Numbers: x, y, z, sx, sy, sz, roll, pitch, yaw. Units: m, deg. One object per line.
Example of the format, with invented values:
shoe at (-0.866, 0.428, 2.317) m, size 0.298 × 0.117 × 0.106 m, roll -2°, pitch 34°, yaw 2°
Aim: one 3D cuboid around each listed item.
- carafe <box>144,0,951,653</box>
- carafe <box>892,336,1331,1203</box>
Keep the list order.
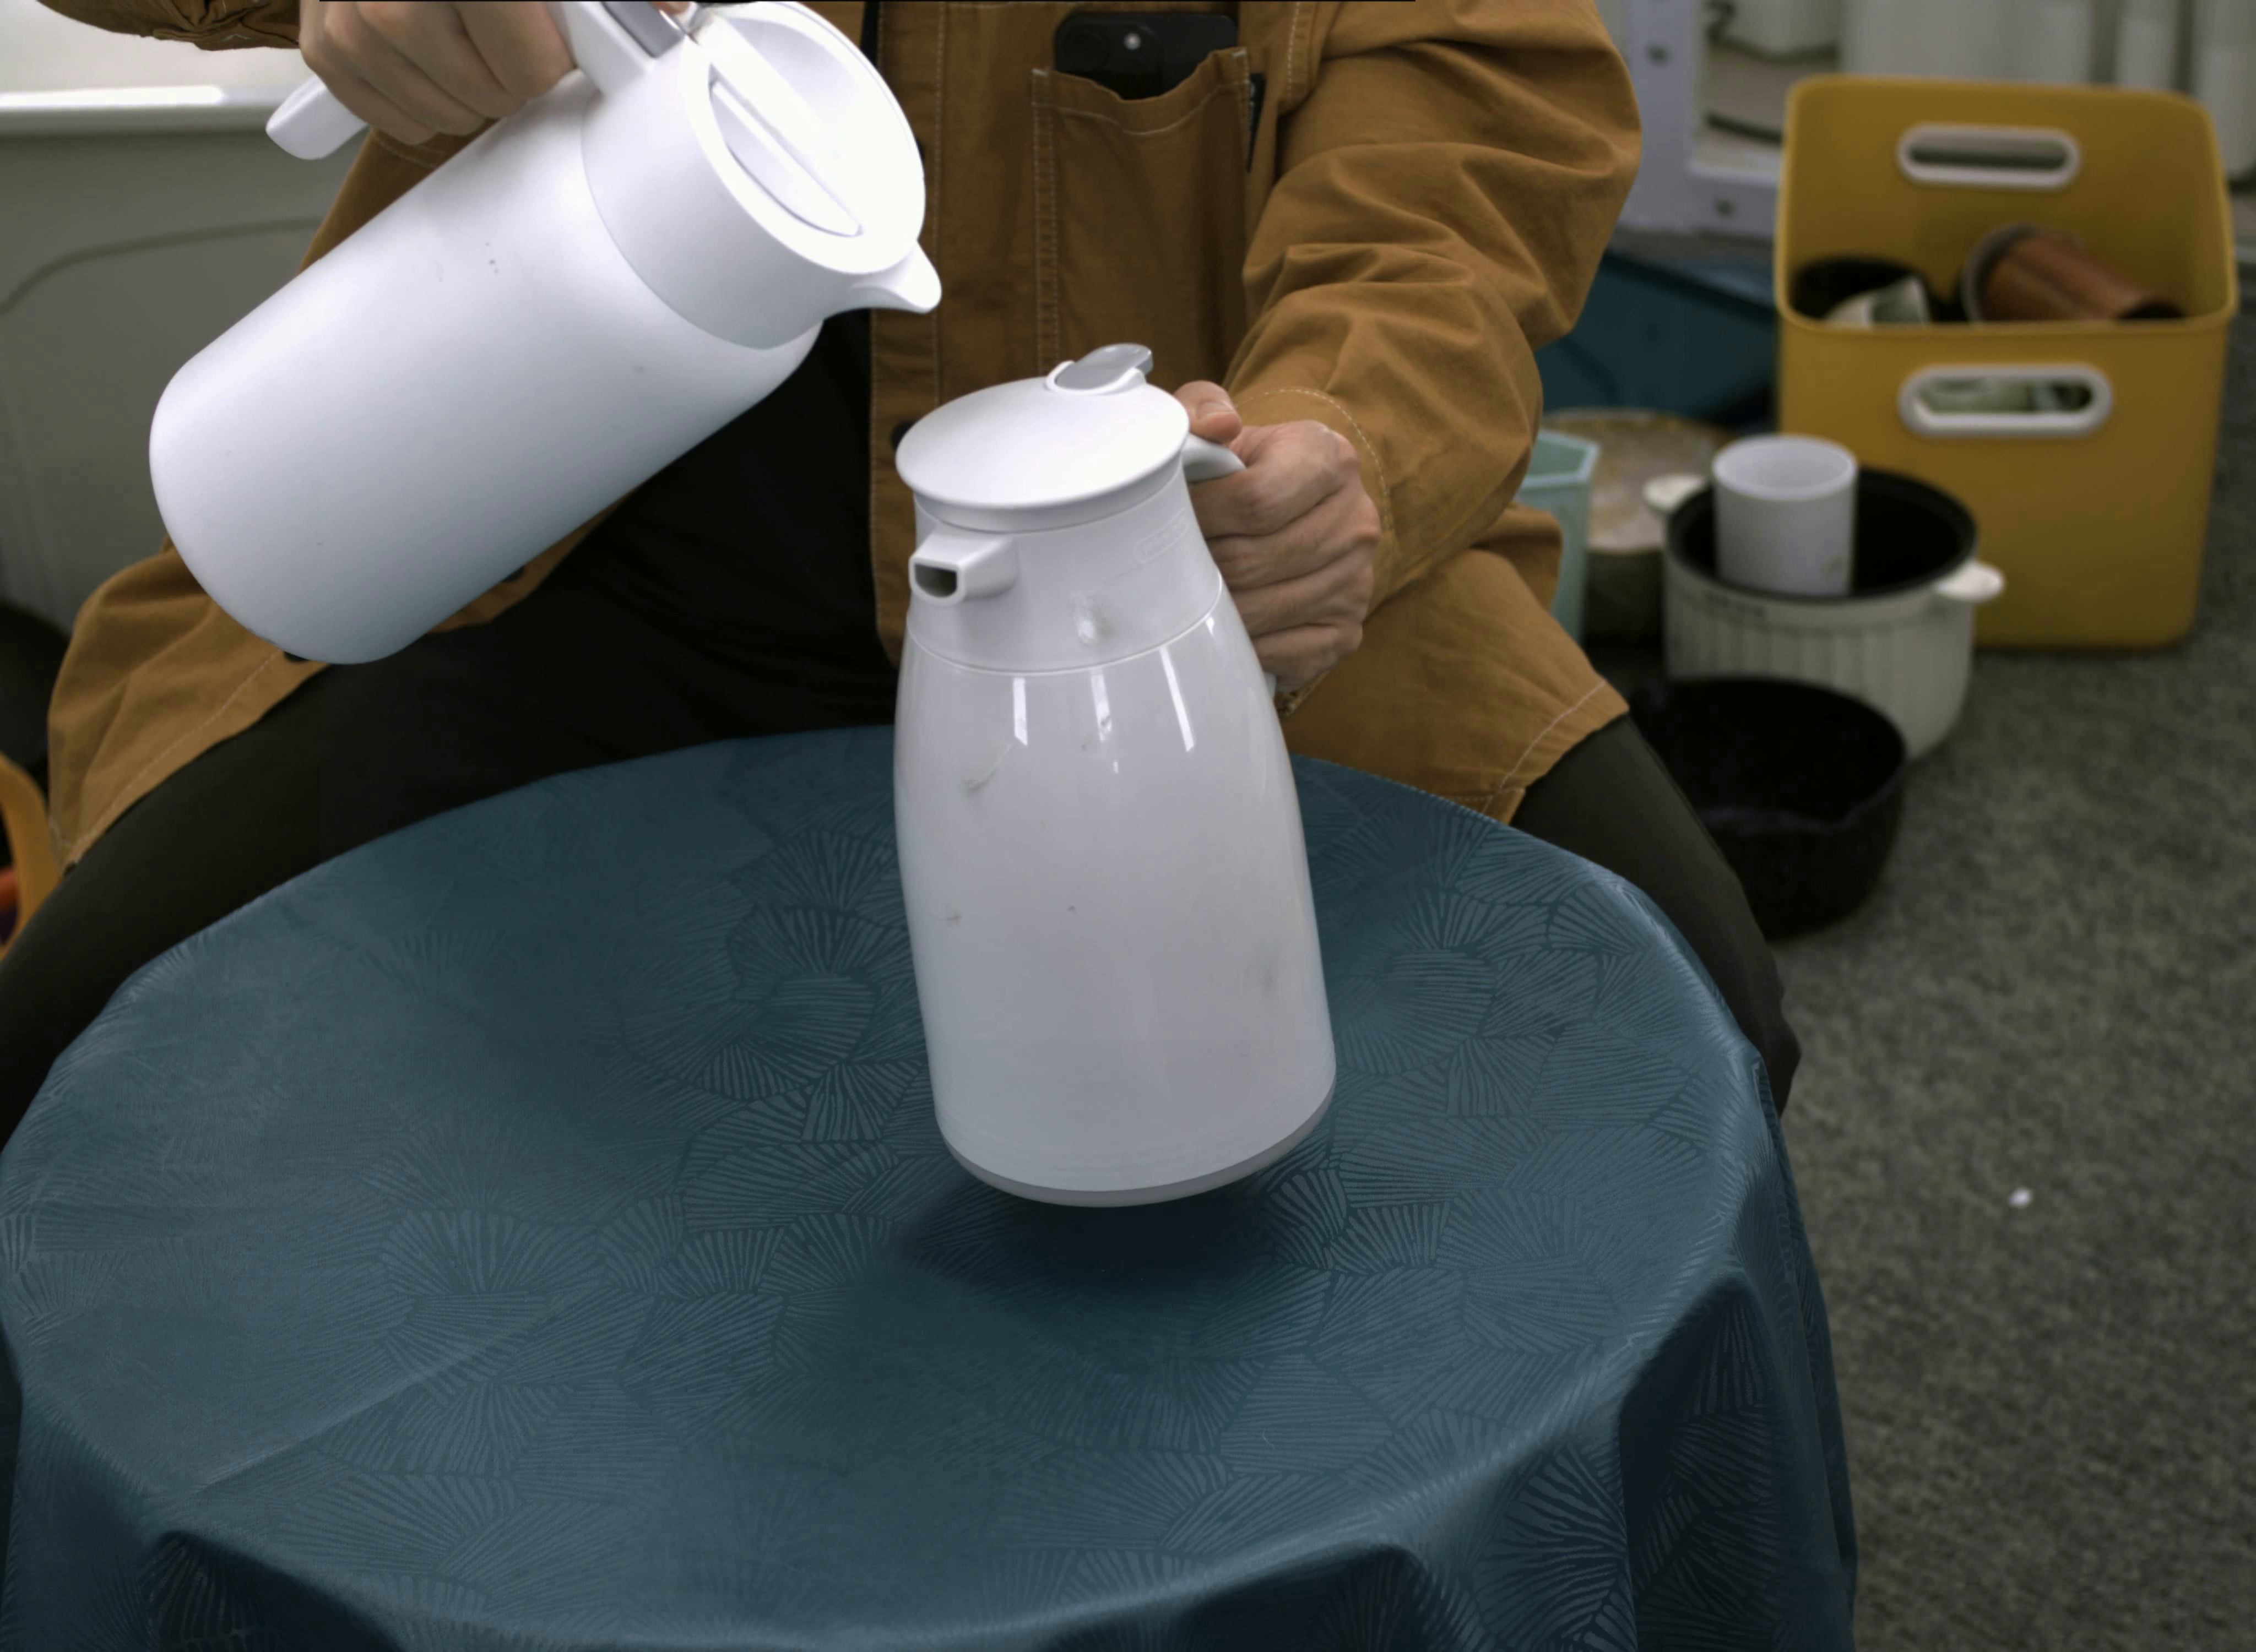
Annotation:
carafe at (-0.200, -0.171, 1.771) m, size 0.264 × 0.172 × 0.126 m, roll -30°, pitch 22°, yaw 38°
carafe at (-0.004, -0.029, 1.794) m, size 0.131 × 0.246 × 0.170 m, roll 10°, pitch 31°, yaw 31°
